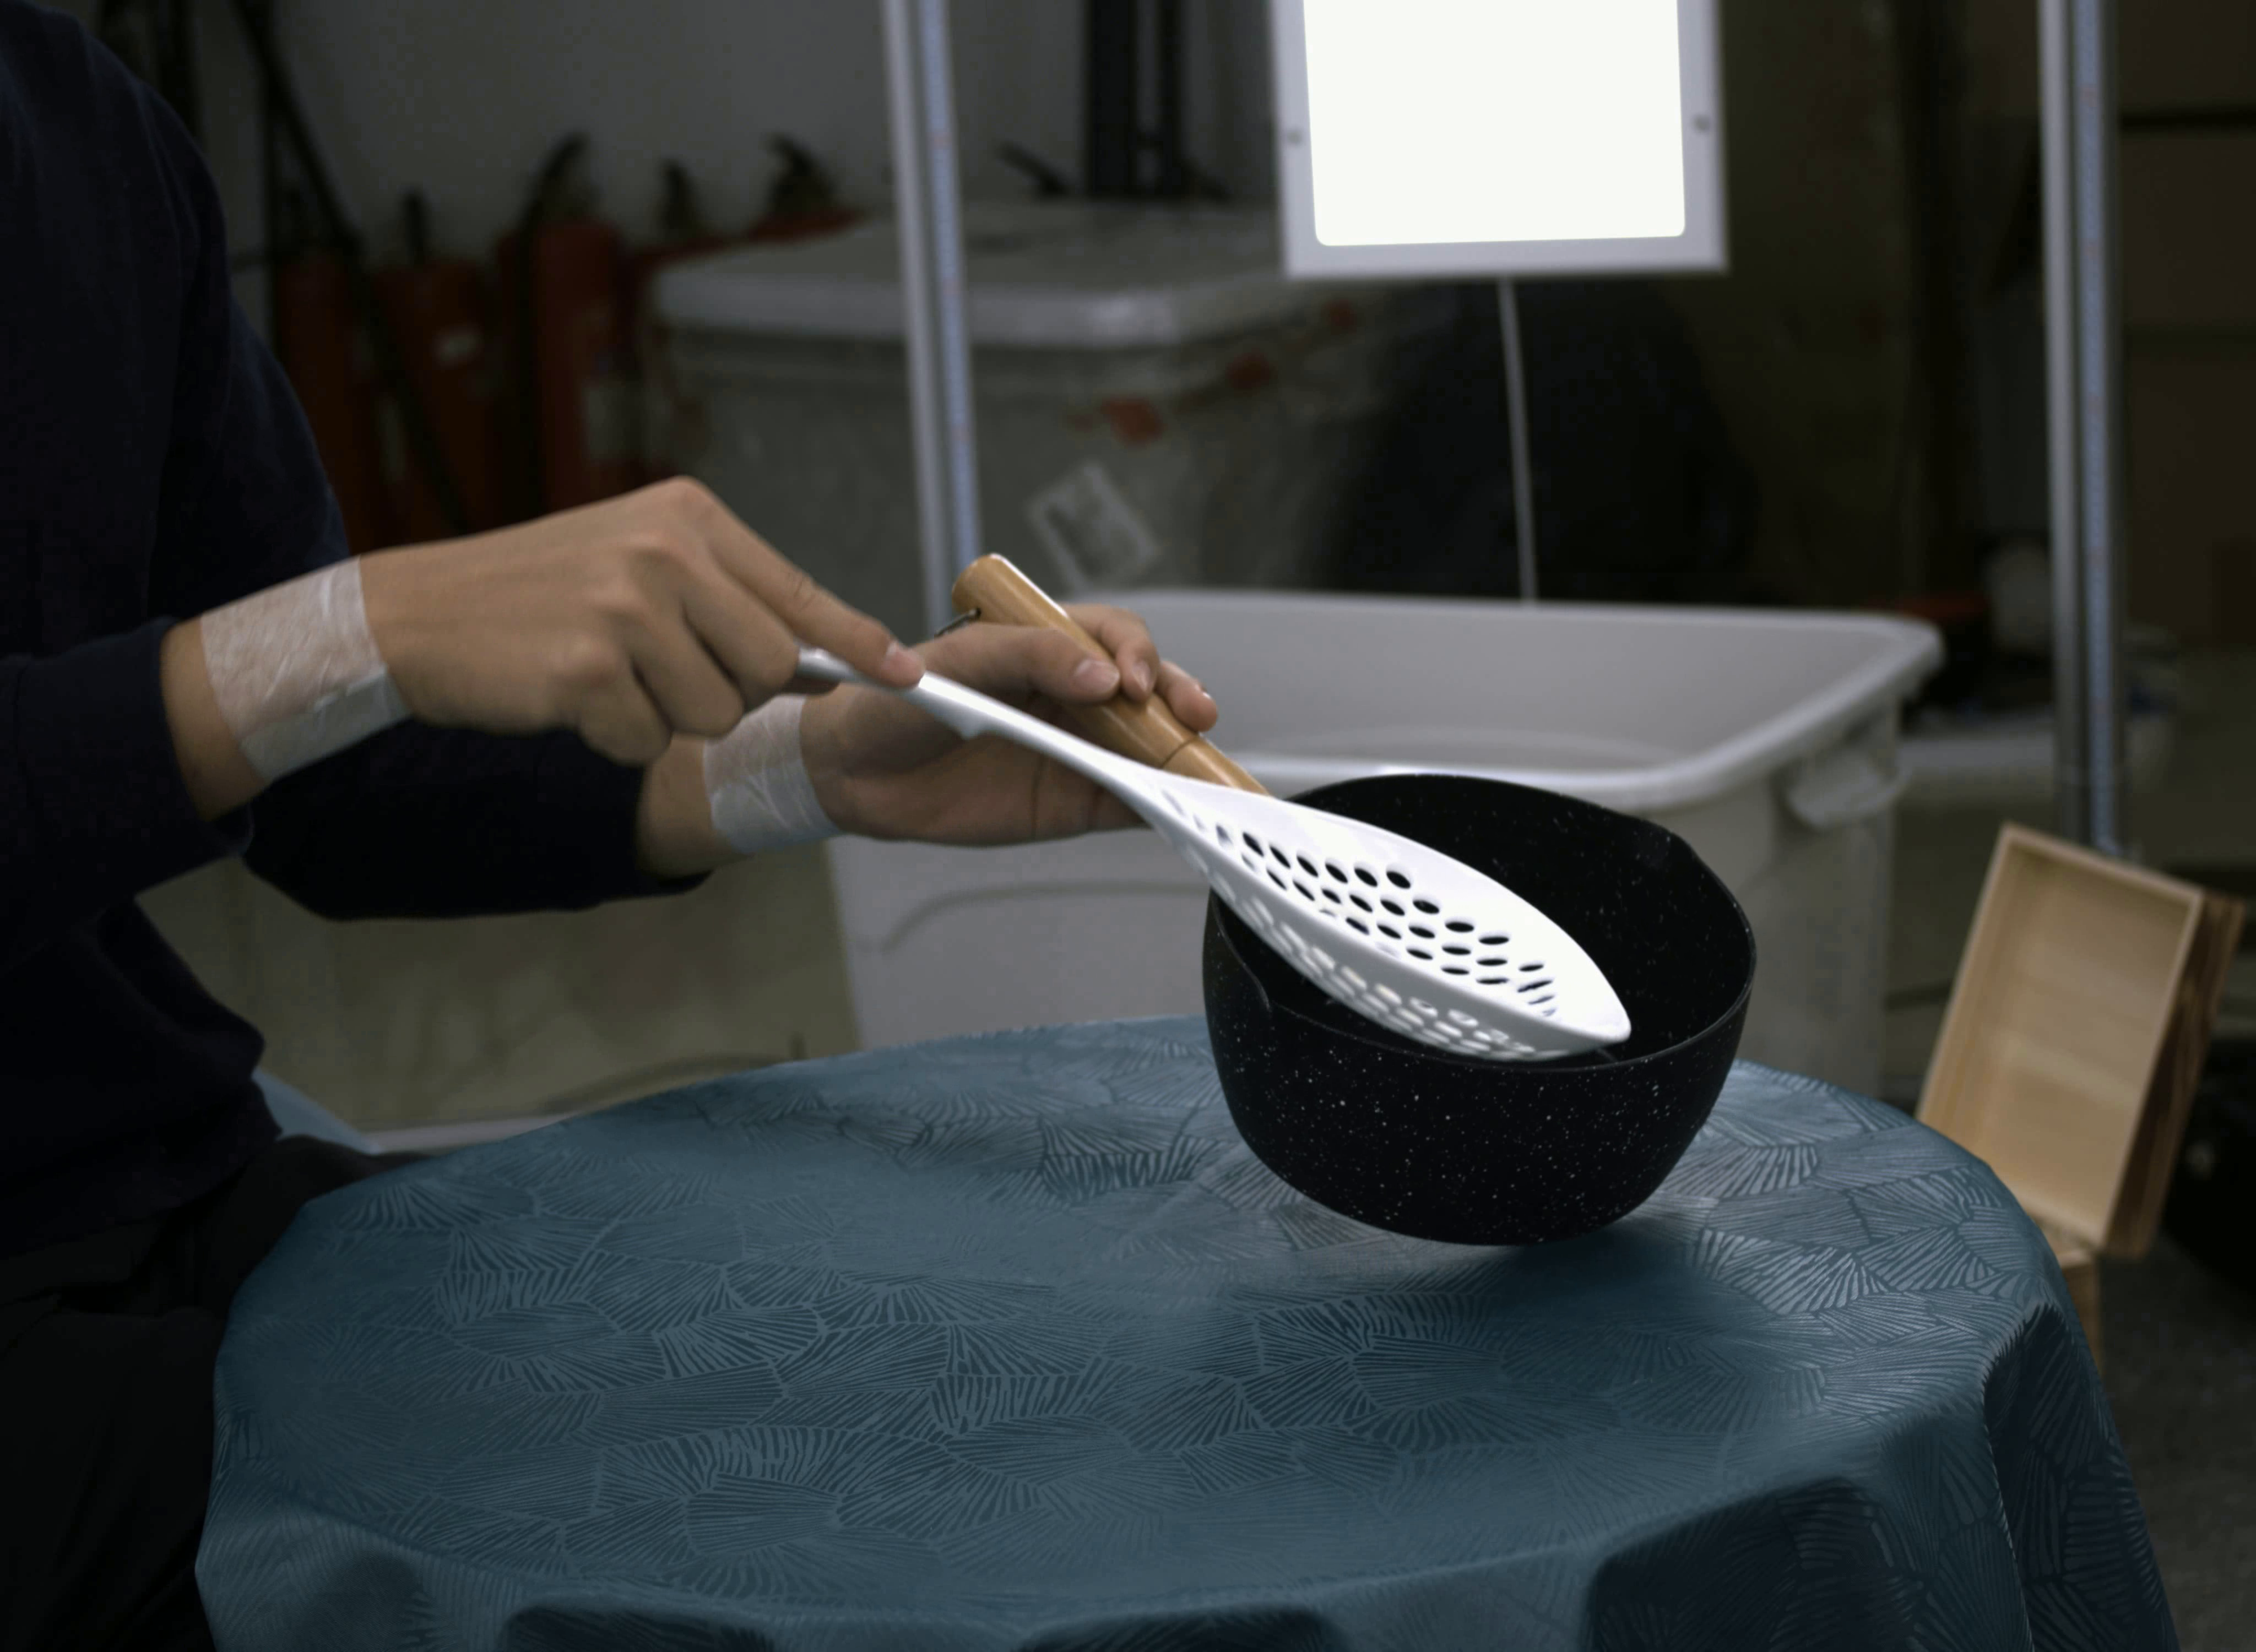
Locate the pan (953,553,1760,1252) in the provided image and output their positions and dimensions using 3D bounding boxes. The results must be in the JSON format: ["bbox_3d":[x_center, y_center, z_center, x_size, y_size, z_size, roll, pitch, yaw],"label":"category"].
[{"bbox_3d":[0.058,0.022,1.882,0.348,0.109,0.202,31,40,34],"label":"pan"}]

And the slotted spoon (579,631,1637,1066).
[{"bbox_3d":[-0.003,-0.003,1.670,0.344,0.051,0.137,27,16,-16],"label":"slotted spoon"}]
